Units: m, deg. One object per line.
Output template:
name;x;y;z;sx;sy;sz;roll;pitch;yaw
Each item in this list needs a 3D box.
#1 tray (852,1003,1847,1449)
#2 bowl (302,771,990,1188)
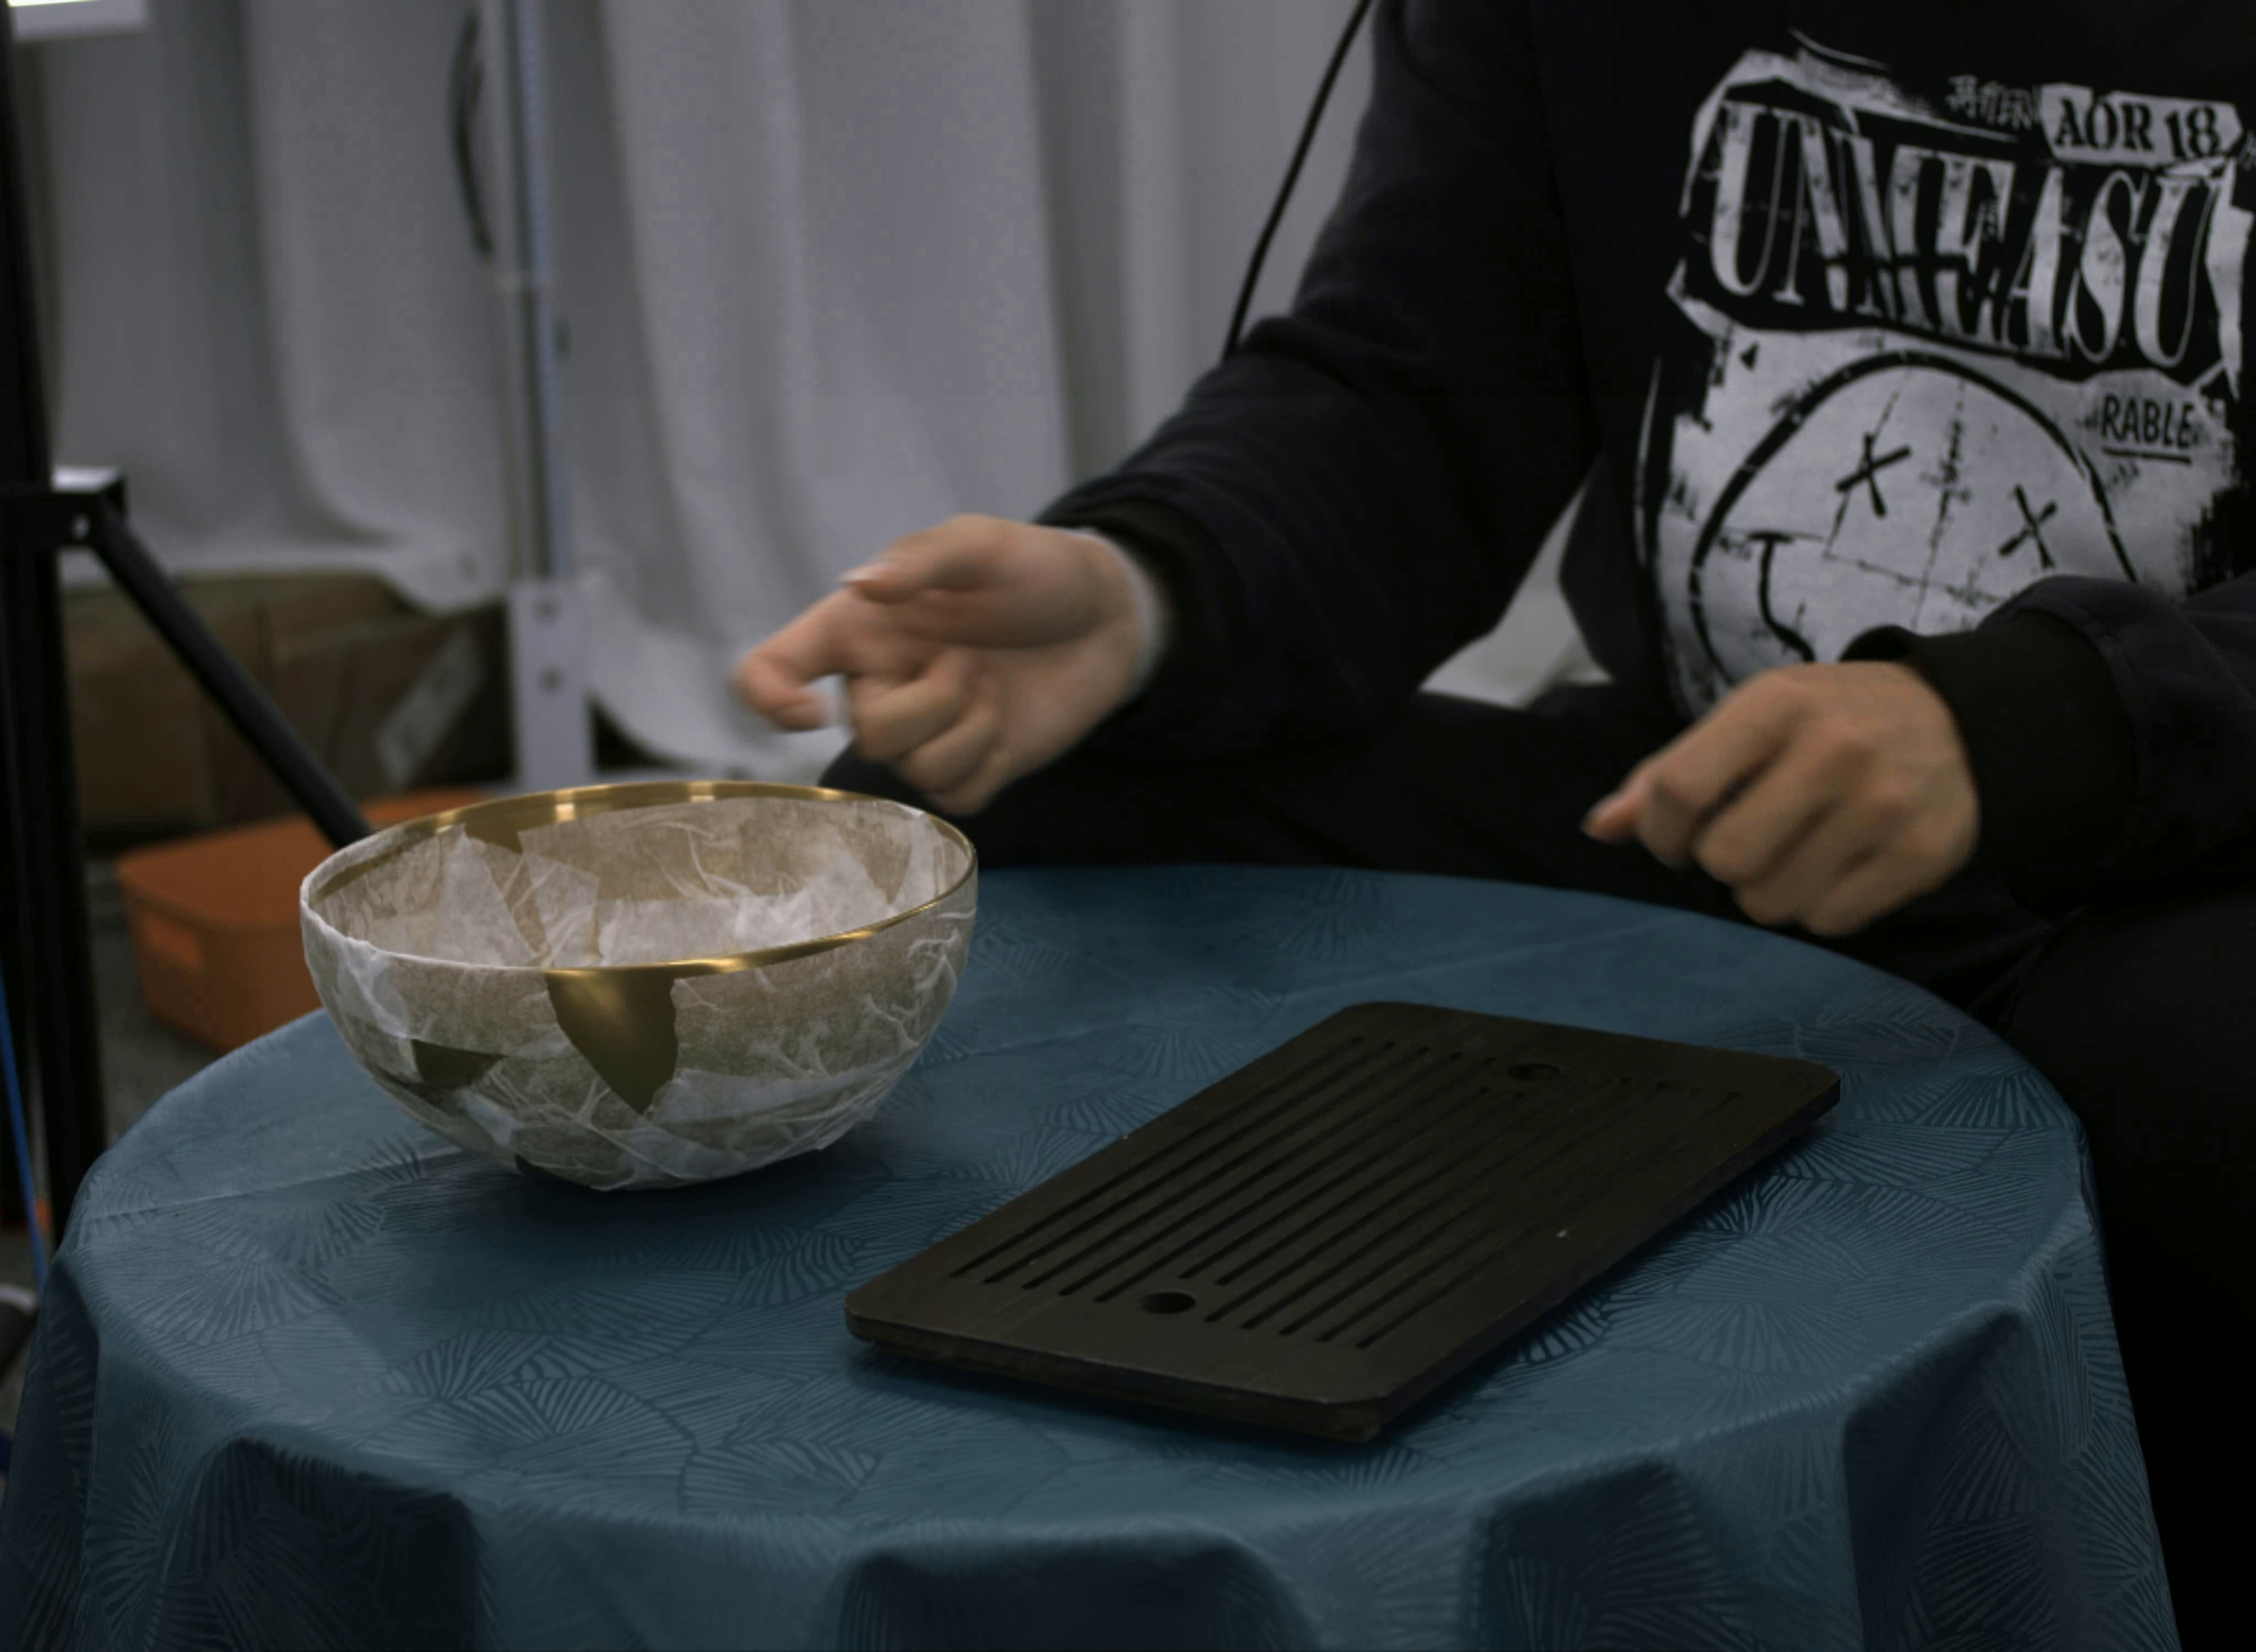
tray;0.070;0.110;1.508;0.173;0.018;0.300;7;18;31
bowl;-0.139;0.055;1.600;0.213;0.094;0.216;-3;15;-1
